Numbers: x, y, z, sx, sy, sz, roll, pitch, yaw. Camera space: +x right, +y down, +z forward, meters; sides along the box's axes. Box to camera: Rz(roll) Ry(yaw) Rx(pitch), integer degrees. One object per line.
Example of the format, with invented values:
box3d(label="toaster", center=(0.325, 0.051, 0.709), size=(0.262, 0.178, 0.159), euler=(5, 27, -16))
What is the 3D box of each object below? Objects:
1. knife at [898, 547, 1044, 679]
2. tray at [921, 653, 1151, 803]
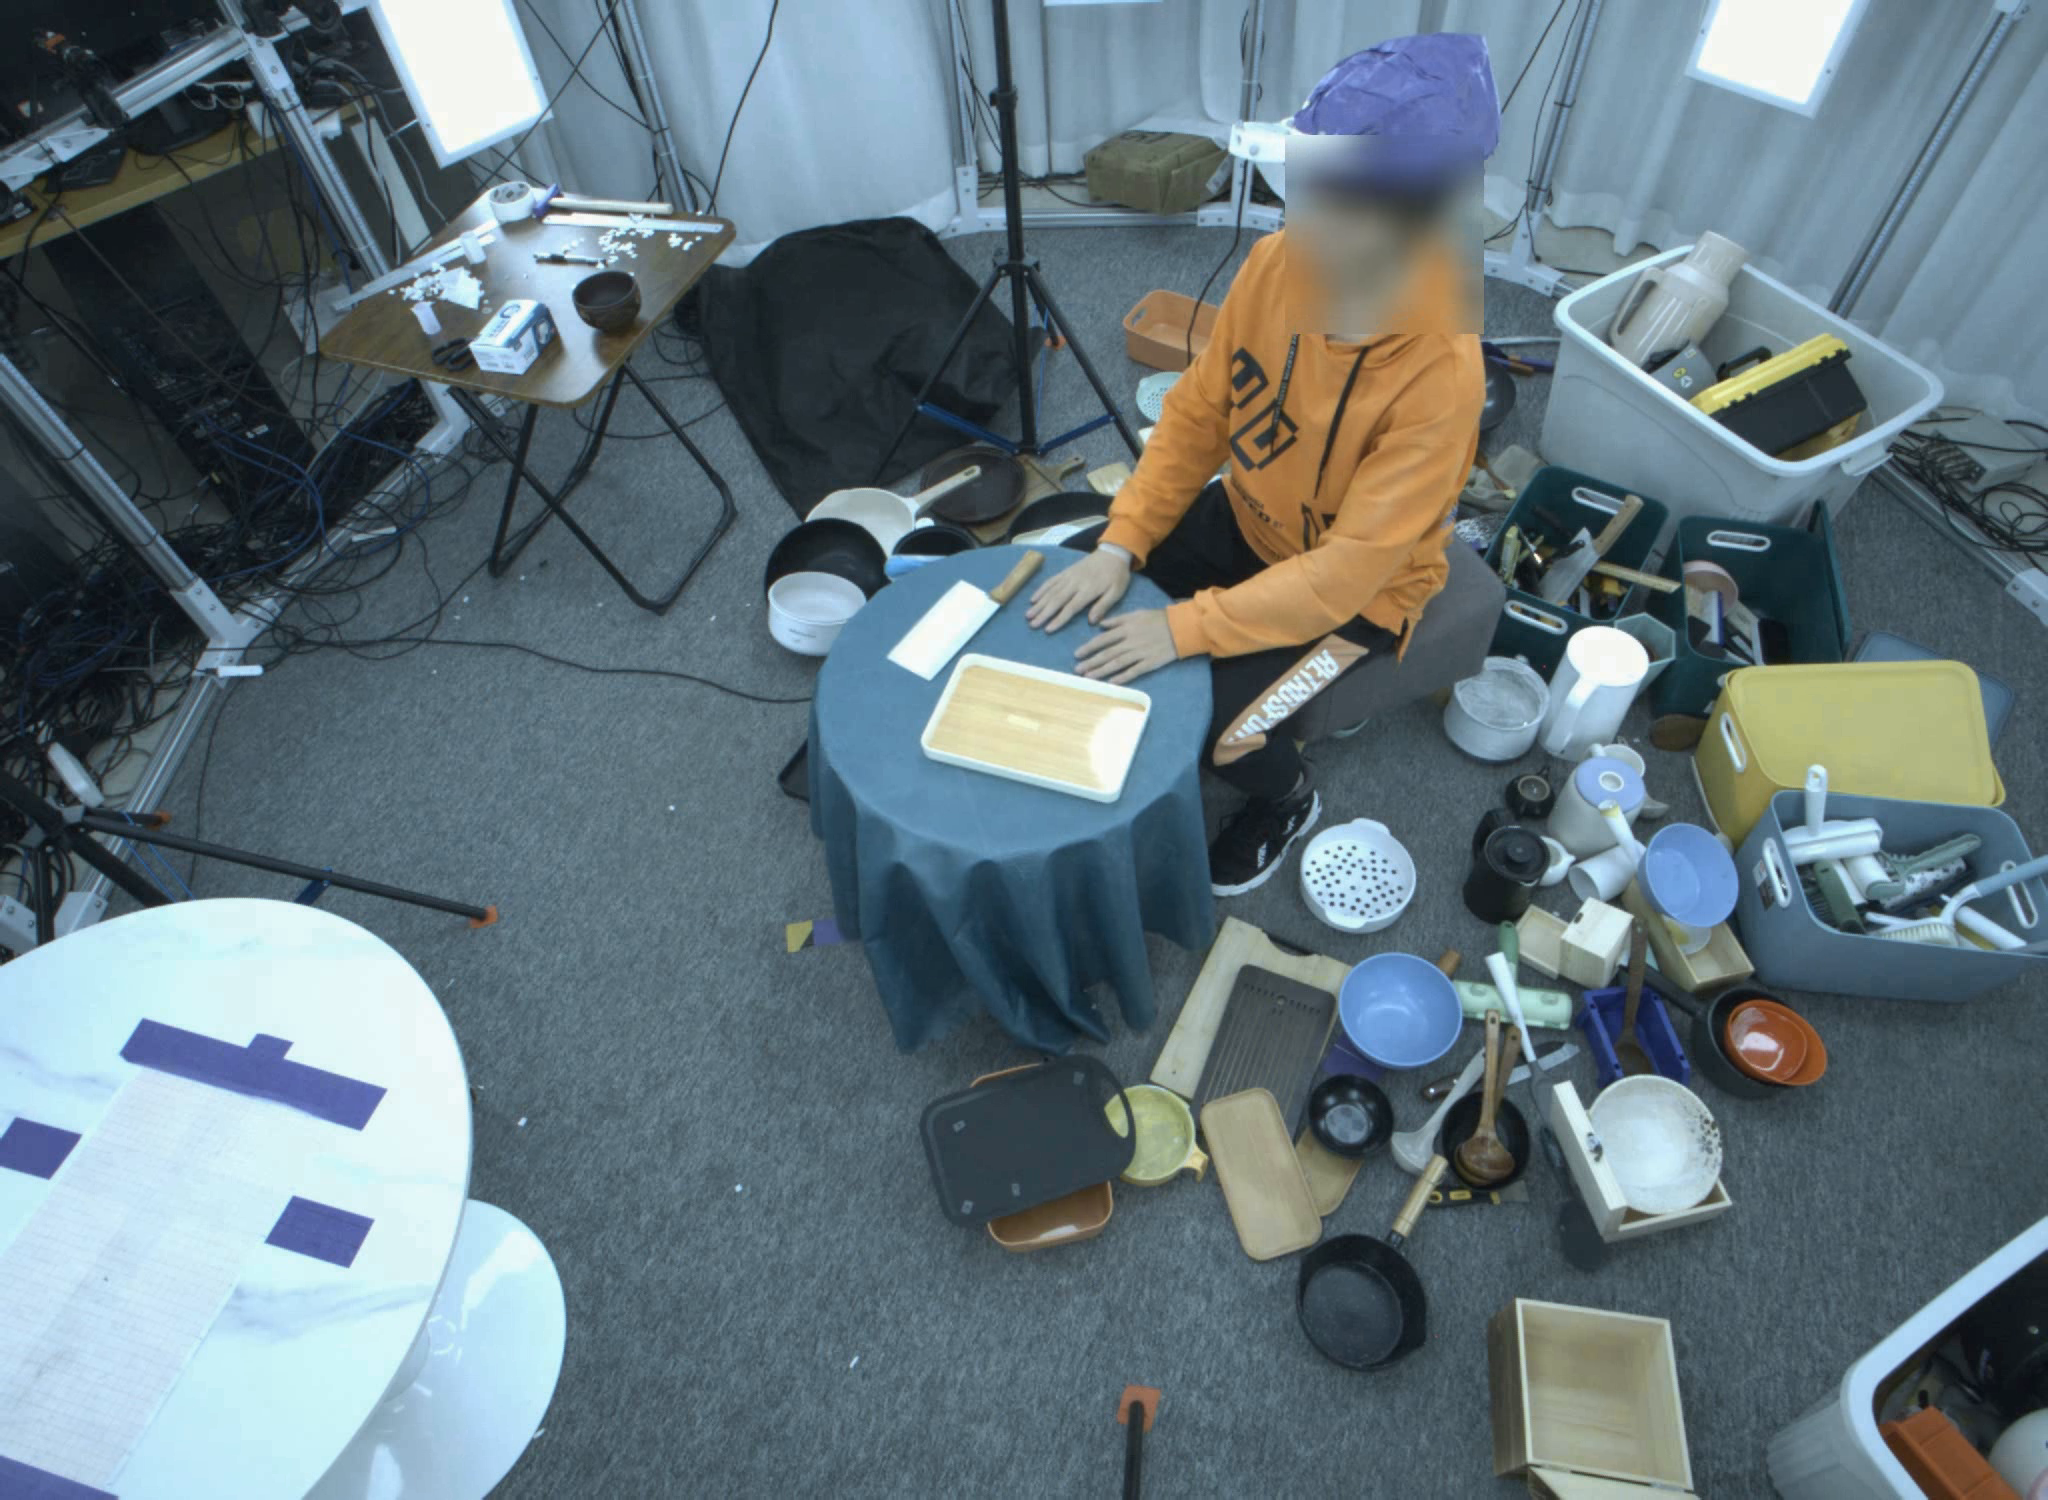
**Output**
box3d(label="knife", center=(-0.087, -0.229, 1.943), size=(0.091, 0.021, 0.307), euler=(29, 63, 22))
box3d(label="tray", center=(0.019, -0.036, 1.795), size=(0.297, 0.028, 0.191), euler=(14, 57, 12))
